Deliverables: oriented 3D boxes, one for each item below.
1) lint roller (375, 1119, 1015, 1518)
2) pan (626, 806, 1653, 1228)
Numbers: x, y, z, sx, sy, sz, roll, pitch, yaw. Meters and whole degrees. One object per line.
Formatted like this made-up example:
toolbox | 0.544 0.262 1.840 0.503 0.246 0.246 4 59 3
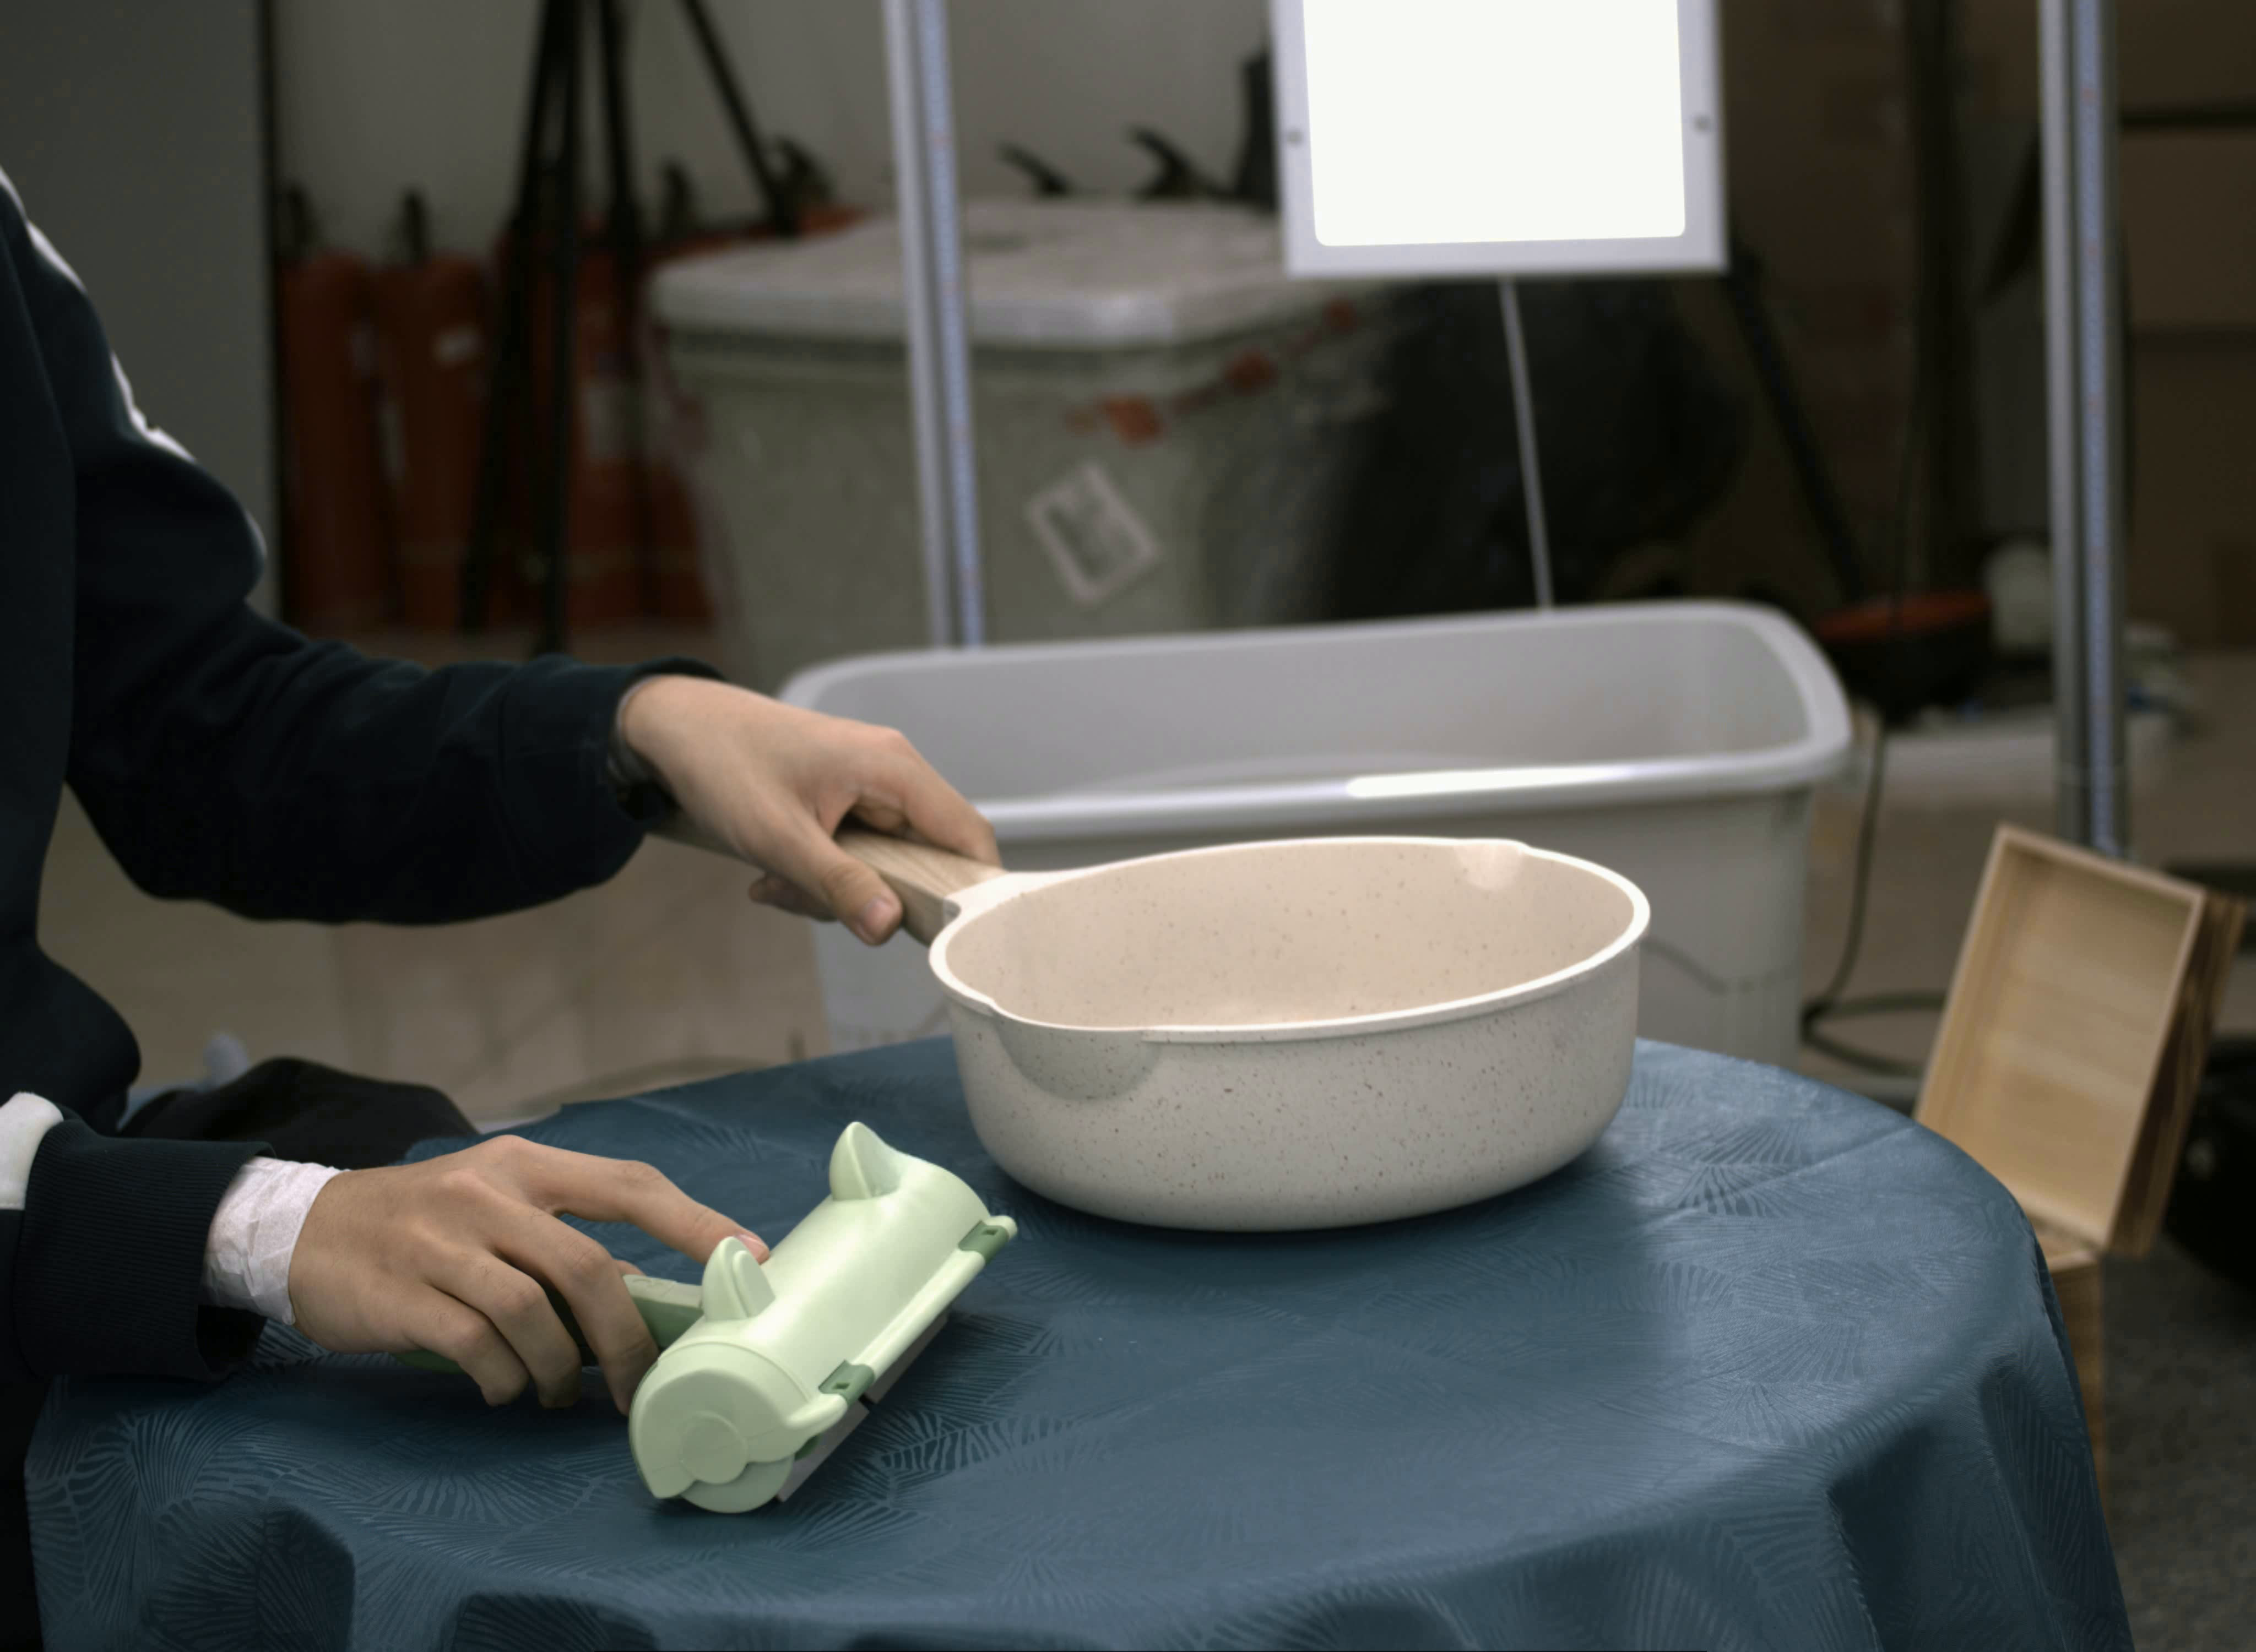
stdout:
lint roller | -0.148 0.140 1.717 0.185 0.083 0.195 10 17 16
pan | -0.011 0.057 1.974 0.444 0.102 0.257 5 19 40
